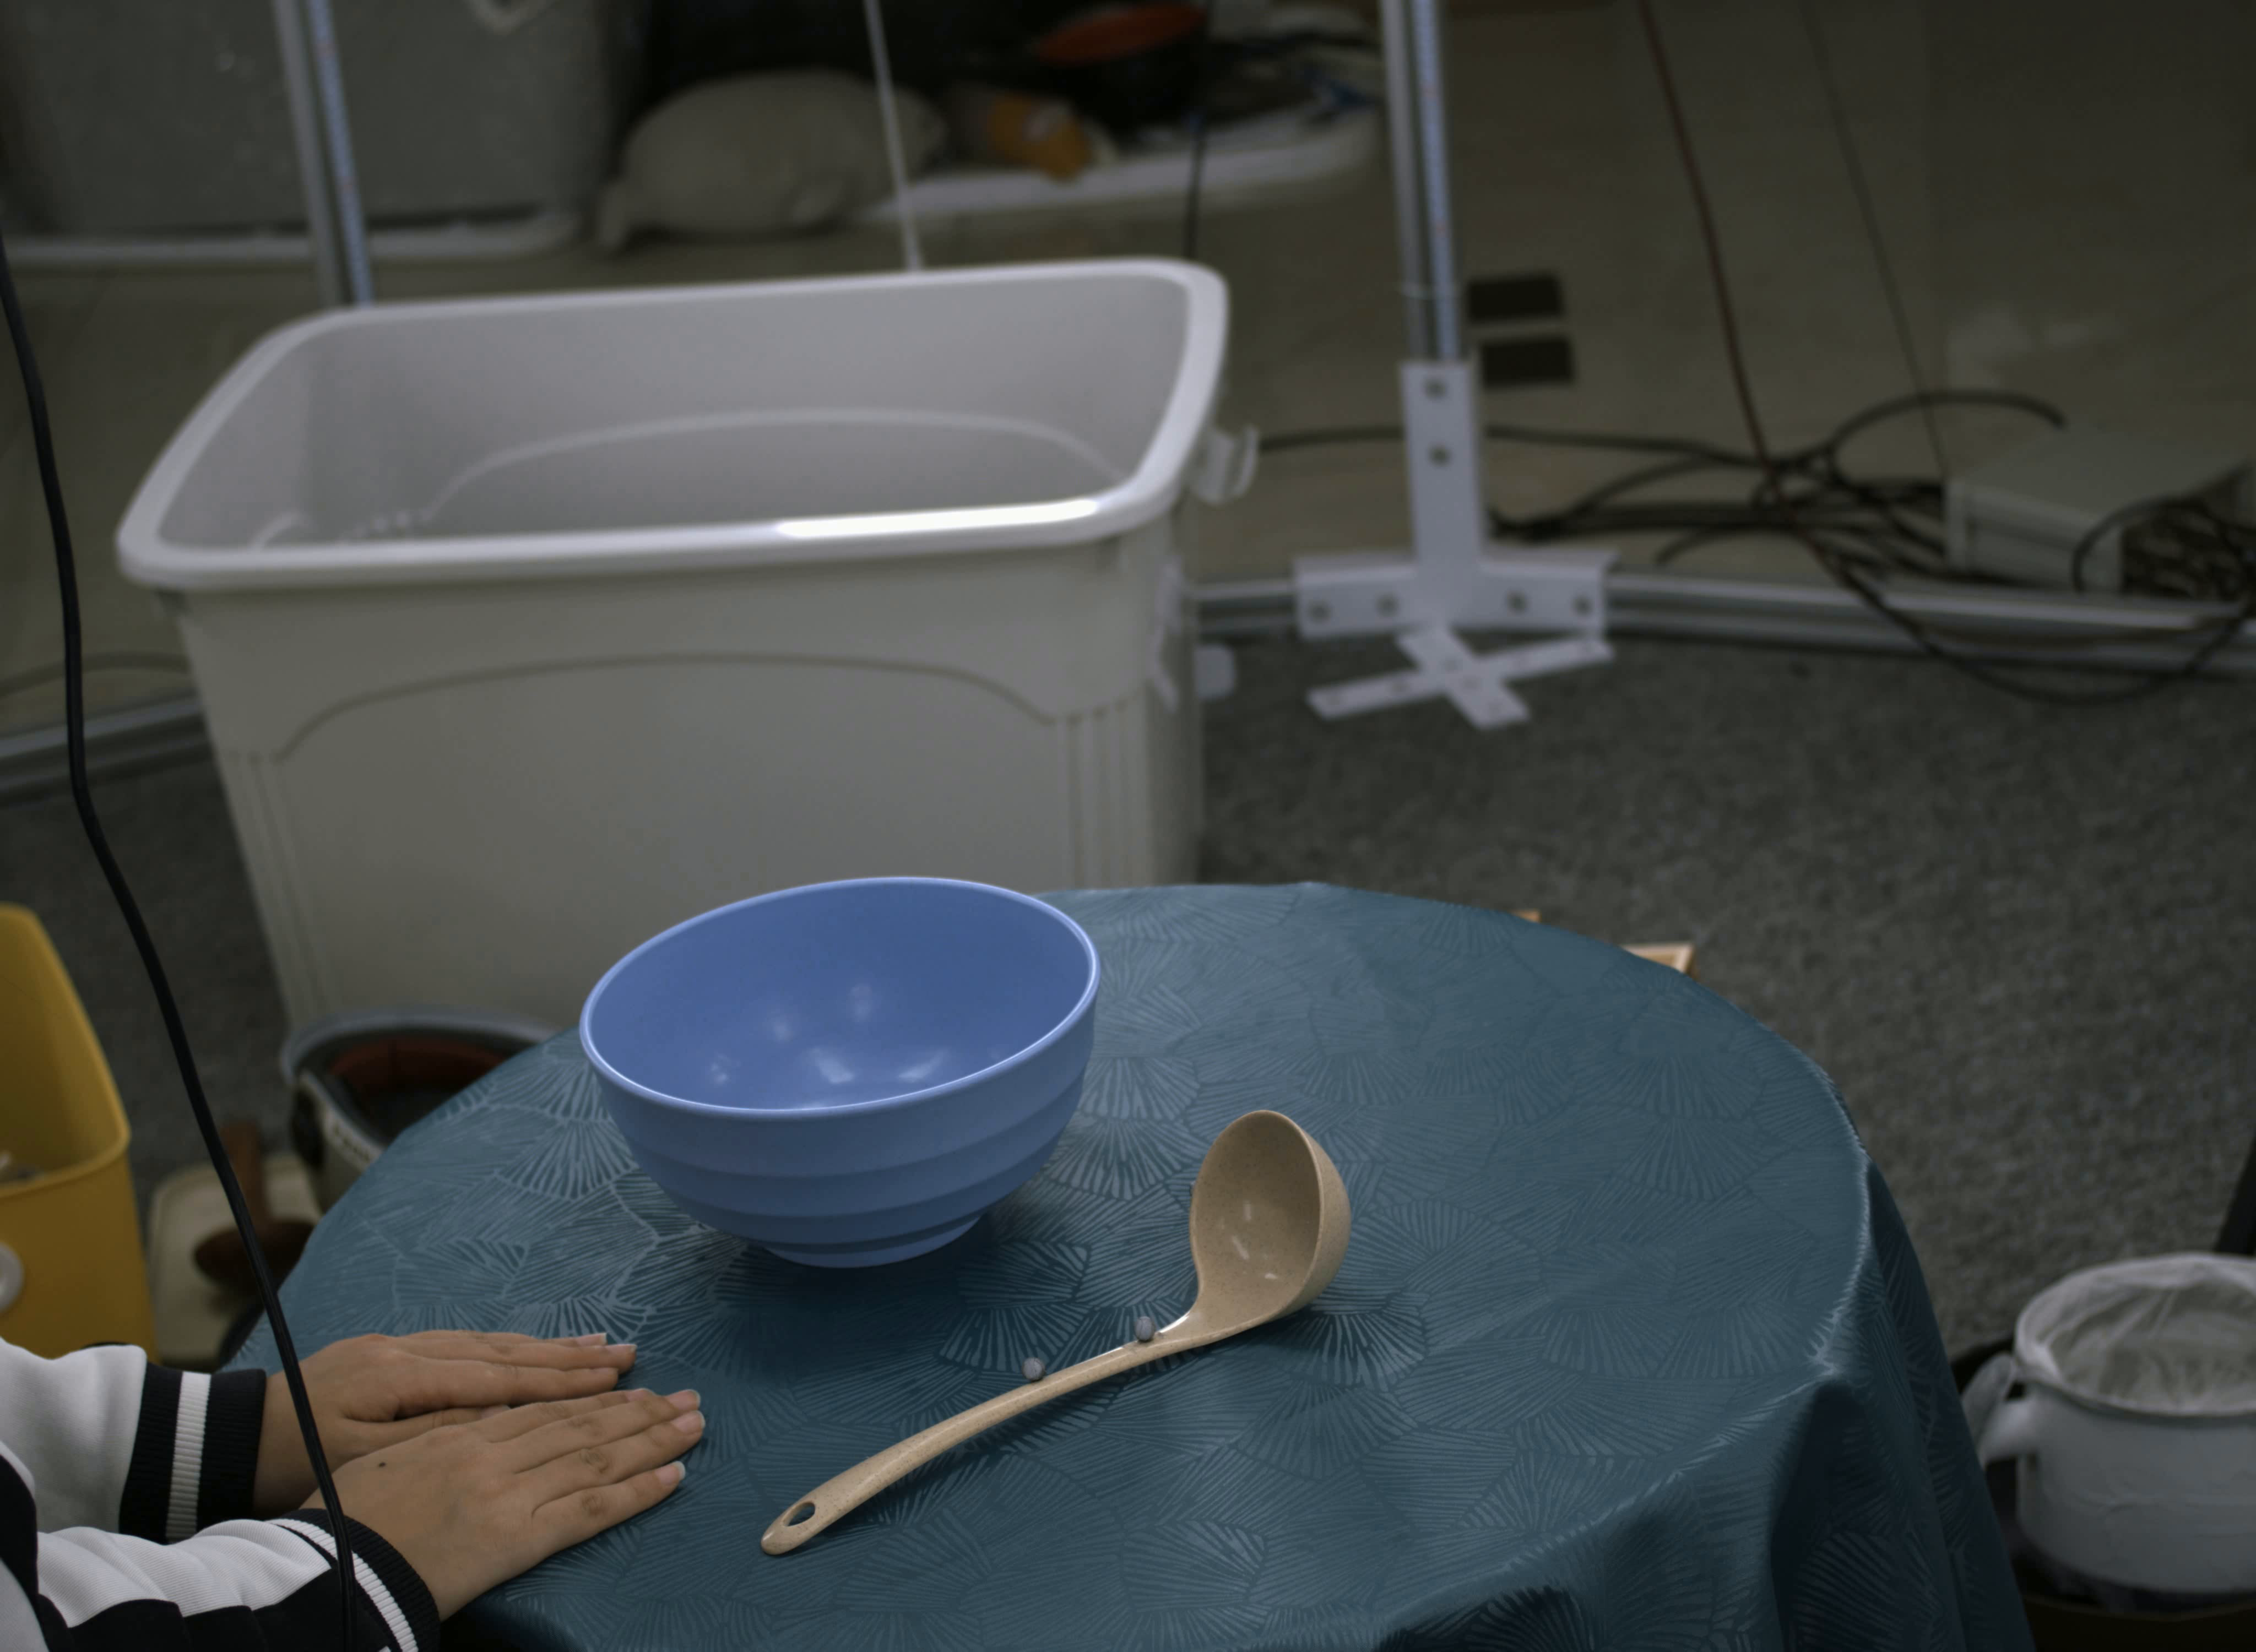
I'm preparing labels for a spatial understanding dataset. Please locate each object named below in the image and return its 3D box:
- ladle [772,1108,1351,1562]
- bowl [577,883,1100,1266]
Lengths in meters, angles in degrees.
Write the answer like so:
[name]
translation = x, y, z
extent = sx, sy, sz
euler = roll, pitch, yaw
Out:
[ladle]
translation = -0.028, 0.174, 1.992
extent = 0.252, 0.074, 0.071
euler = -24, 29, -33
[bowl]
translation = -0.104, 0.103, 2.135
extent = 0.196, 0.097, 0.194
euler = -4, 23, 2
